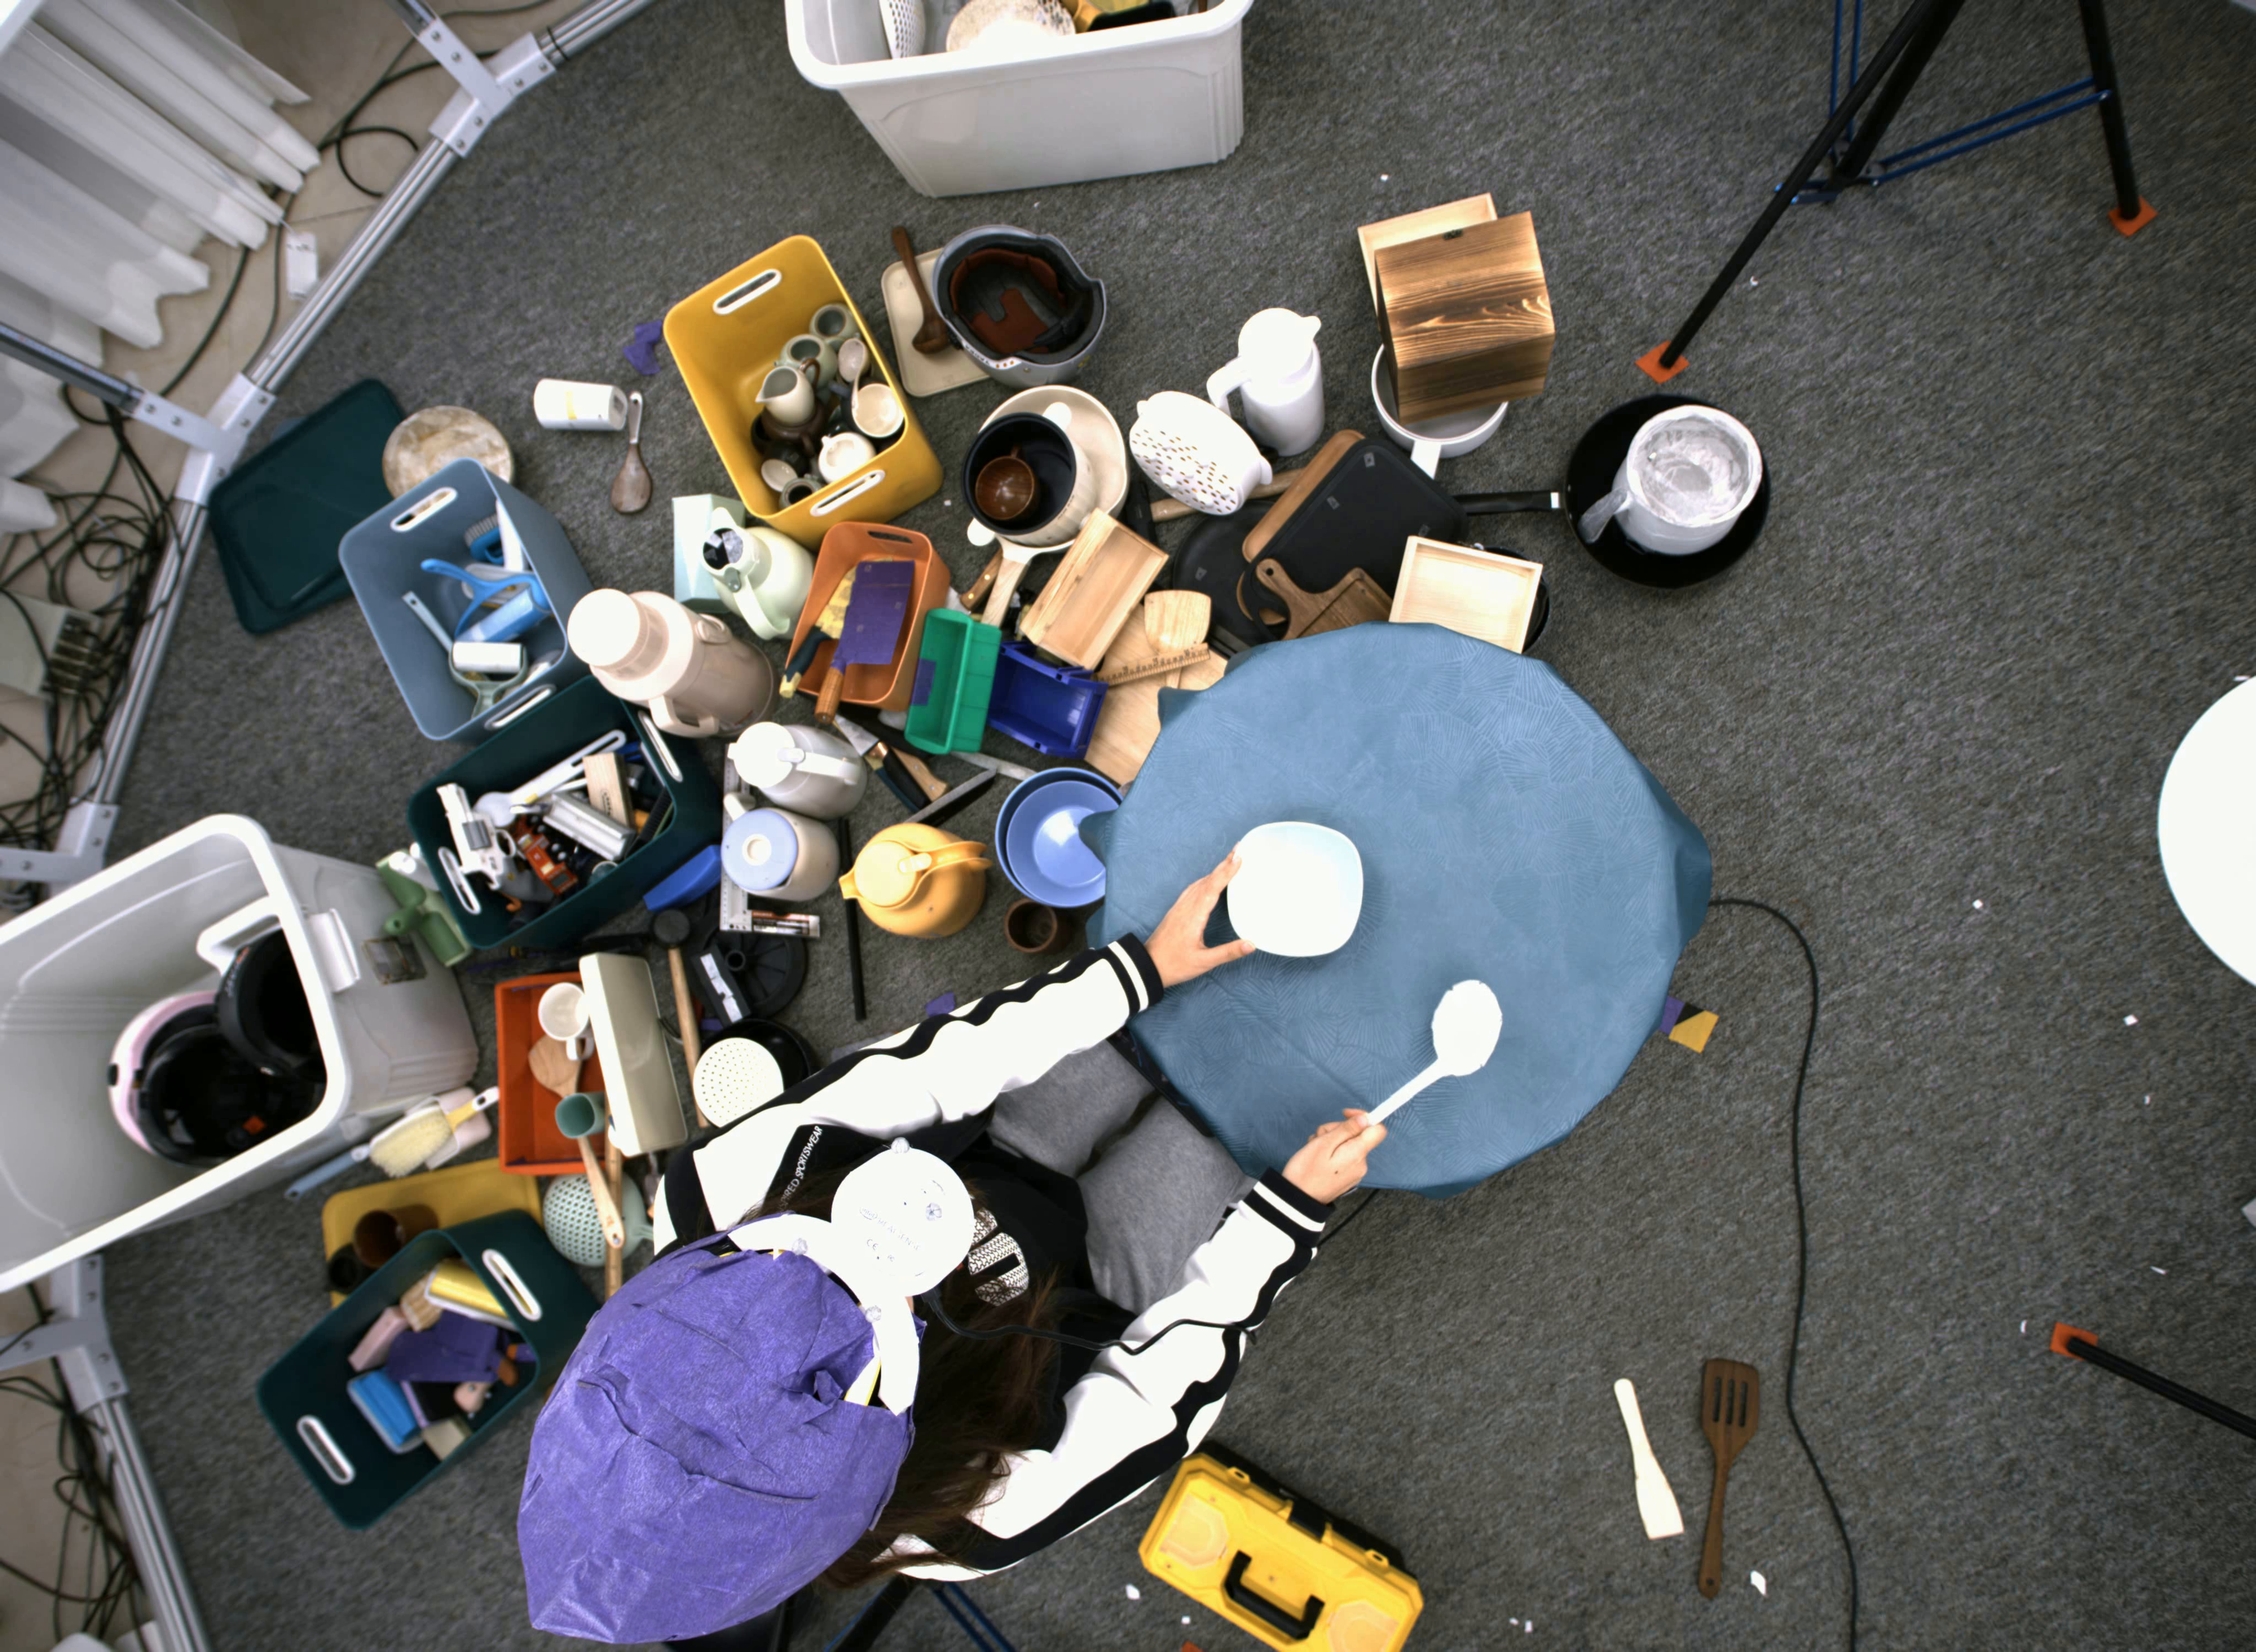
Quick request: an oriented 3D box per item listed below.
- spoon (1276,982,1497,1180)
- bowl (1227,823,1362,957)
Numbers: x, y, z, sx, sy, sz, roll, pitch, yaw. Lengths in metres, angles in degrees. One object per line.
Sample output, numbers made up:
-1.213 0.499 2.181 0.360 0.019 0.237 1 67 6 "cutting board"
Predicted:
0.249 0.252 1.368 0.279 0.099 0.060 -35 117 7 "spoon"
0.175 0.068 1.452 0.152 0.058 0.151 -1 86 11 "bowl"
